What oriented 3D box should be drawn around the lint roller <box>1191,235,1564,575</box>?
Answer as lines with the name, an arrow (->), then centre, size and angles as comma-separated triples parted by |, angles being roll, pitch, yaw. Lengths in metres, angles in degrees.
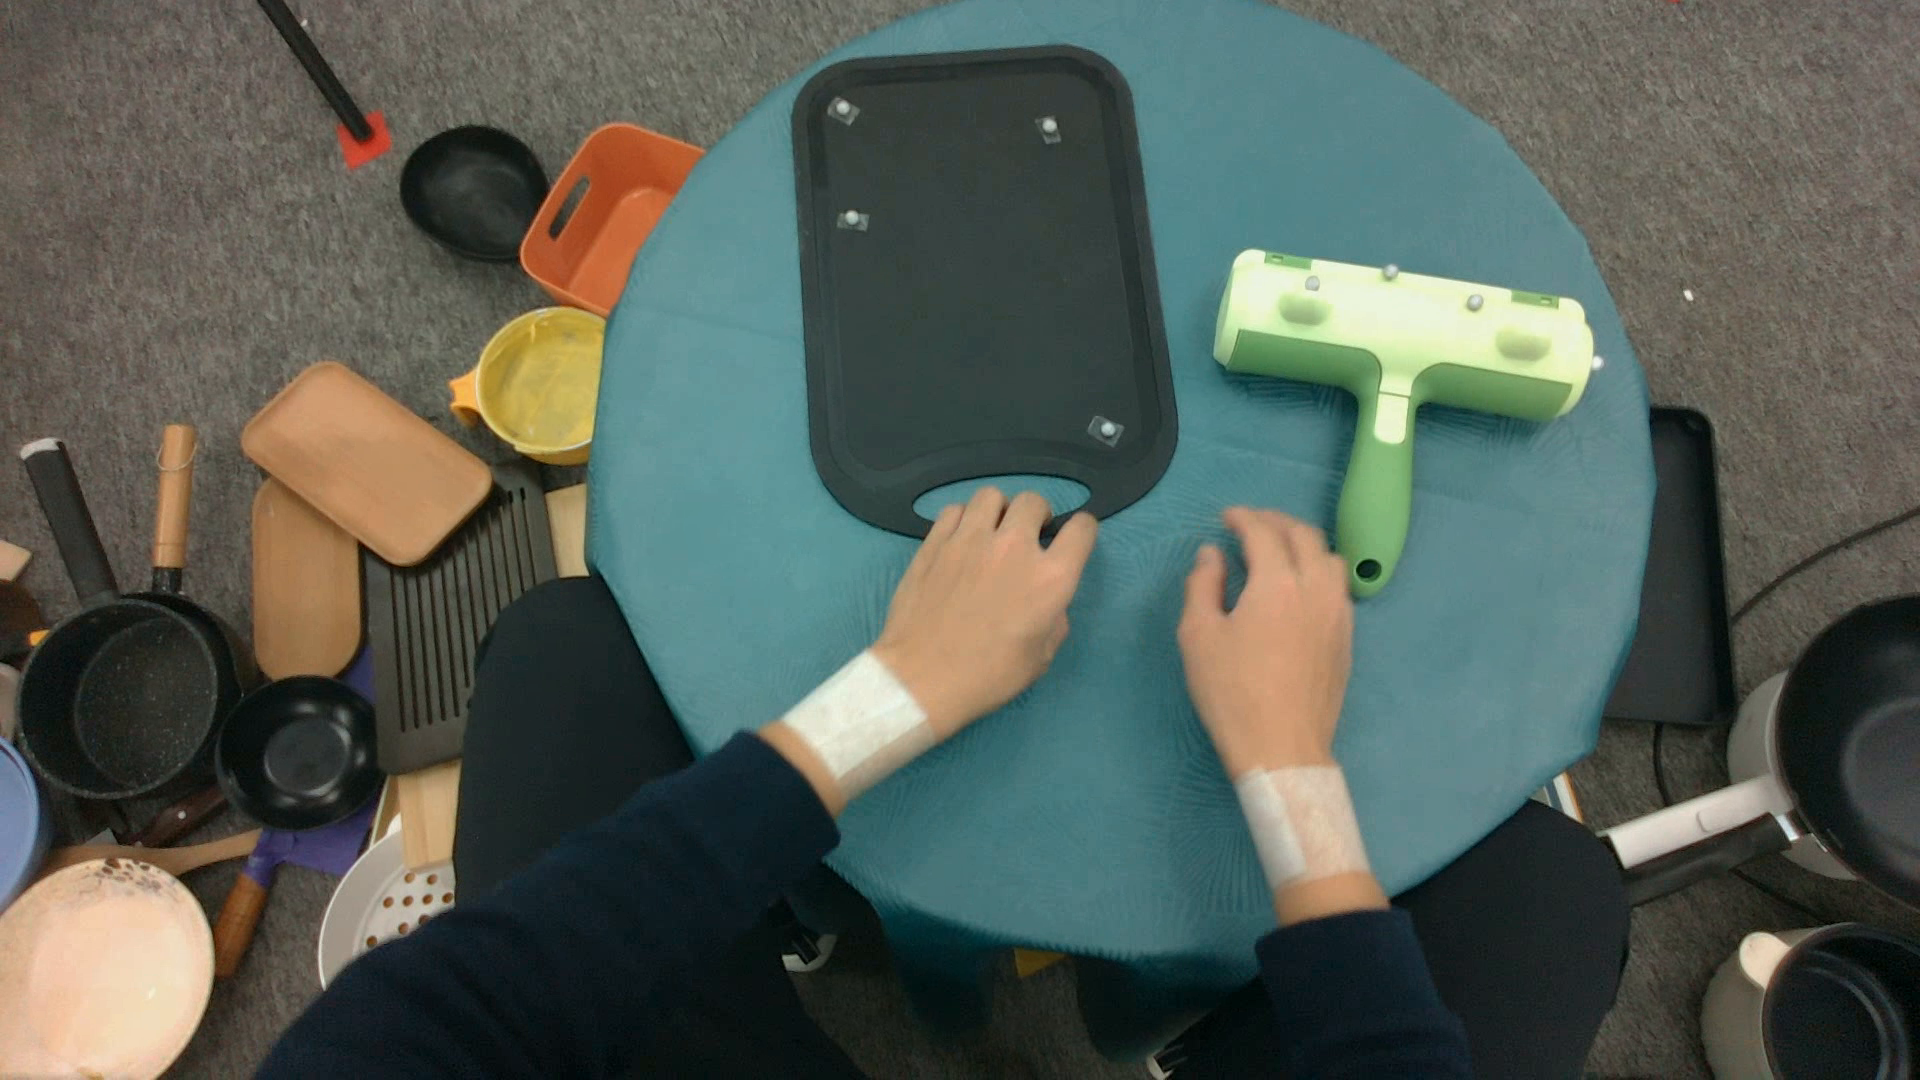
lint roller -> 0.222, -0.077, 0.739 | 0.198, 0.082, 0.184 | 8, 65, 3

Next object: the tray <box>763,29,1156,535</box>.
tray -> -0.003, -0.159, 0.804 | 0.211, 0.010, 0.326 | -6, 72, -3
